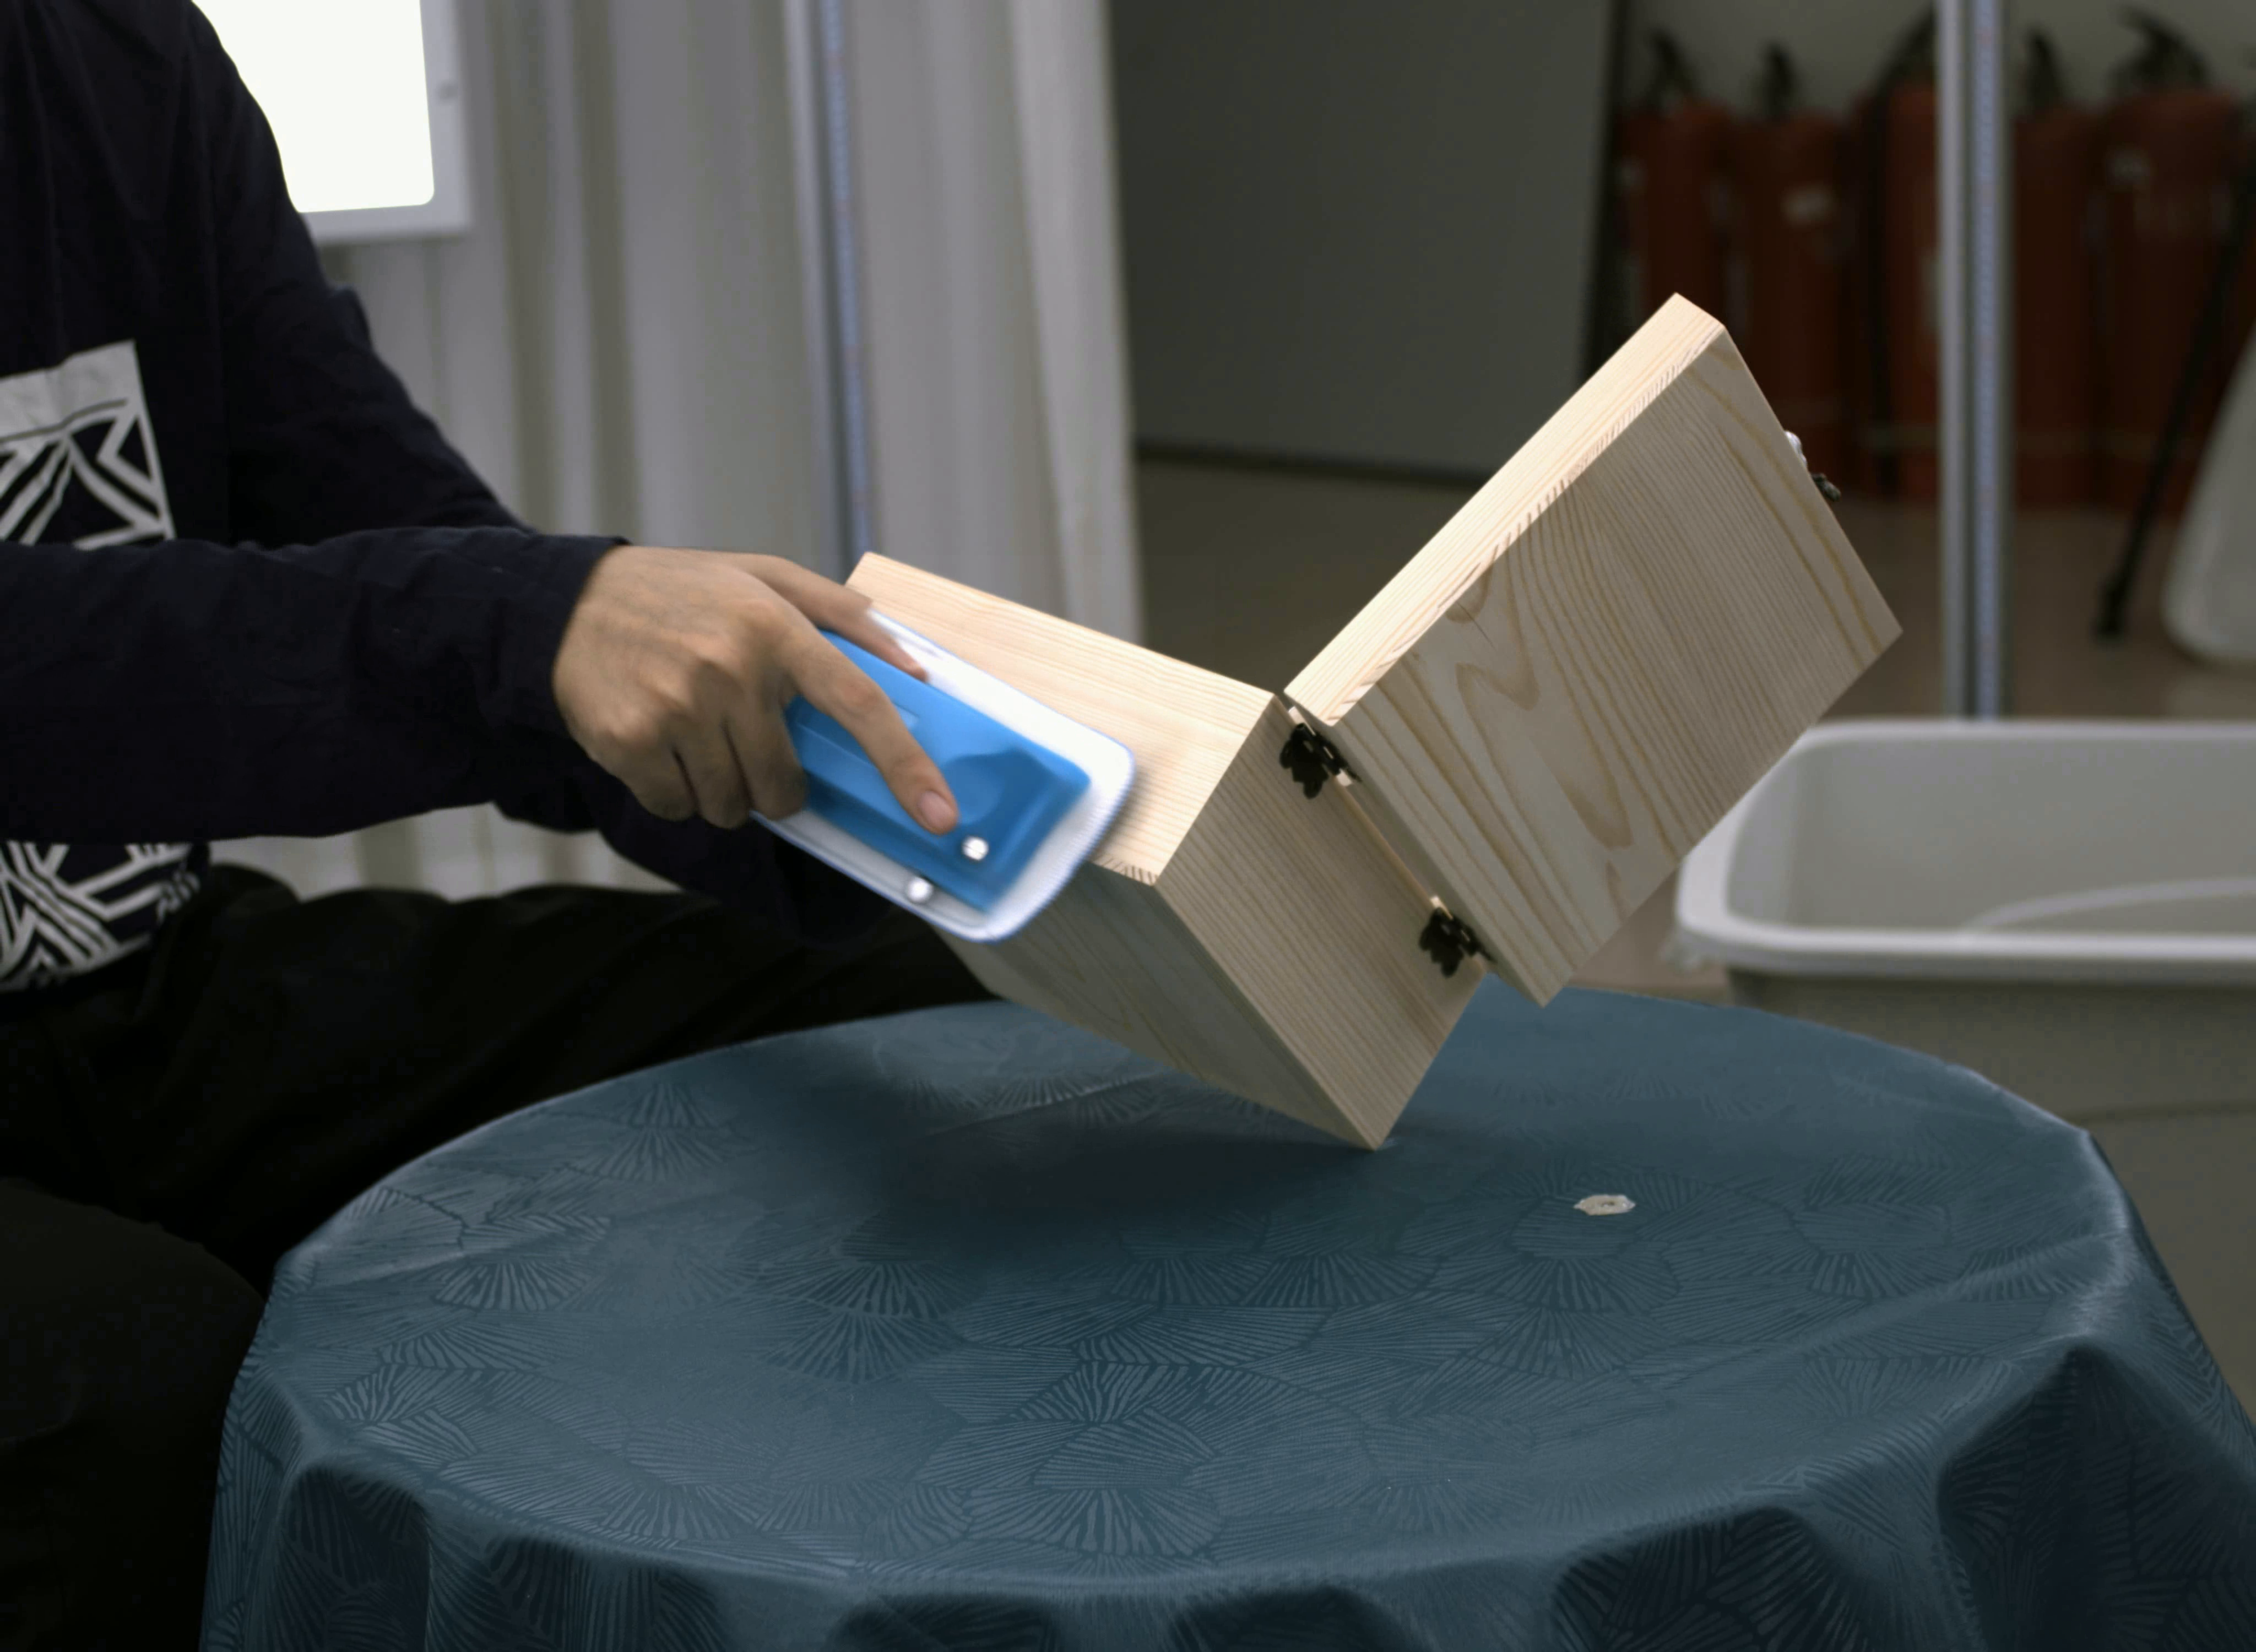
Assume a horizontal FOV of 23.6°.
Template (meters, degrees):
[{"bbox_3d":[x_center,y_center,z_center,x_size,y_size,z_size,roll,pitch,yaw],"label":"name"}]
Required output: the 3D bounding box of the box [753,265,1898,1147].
[{"bbox_3d":[0.067,-0.058,1.801,0.267,0.253,0.180,20,-19,37],"label":"box"}]

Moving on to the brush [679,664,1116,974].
[{"bbox_3d":[-0.077,-0.007,1.705,0.145,0.055,0.083,20,63,36],"label":"brush"}]
